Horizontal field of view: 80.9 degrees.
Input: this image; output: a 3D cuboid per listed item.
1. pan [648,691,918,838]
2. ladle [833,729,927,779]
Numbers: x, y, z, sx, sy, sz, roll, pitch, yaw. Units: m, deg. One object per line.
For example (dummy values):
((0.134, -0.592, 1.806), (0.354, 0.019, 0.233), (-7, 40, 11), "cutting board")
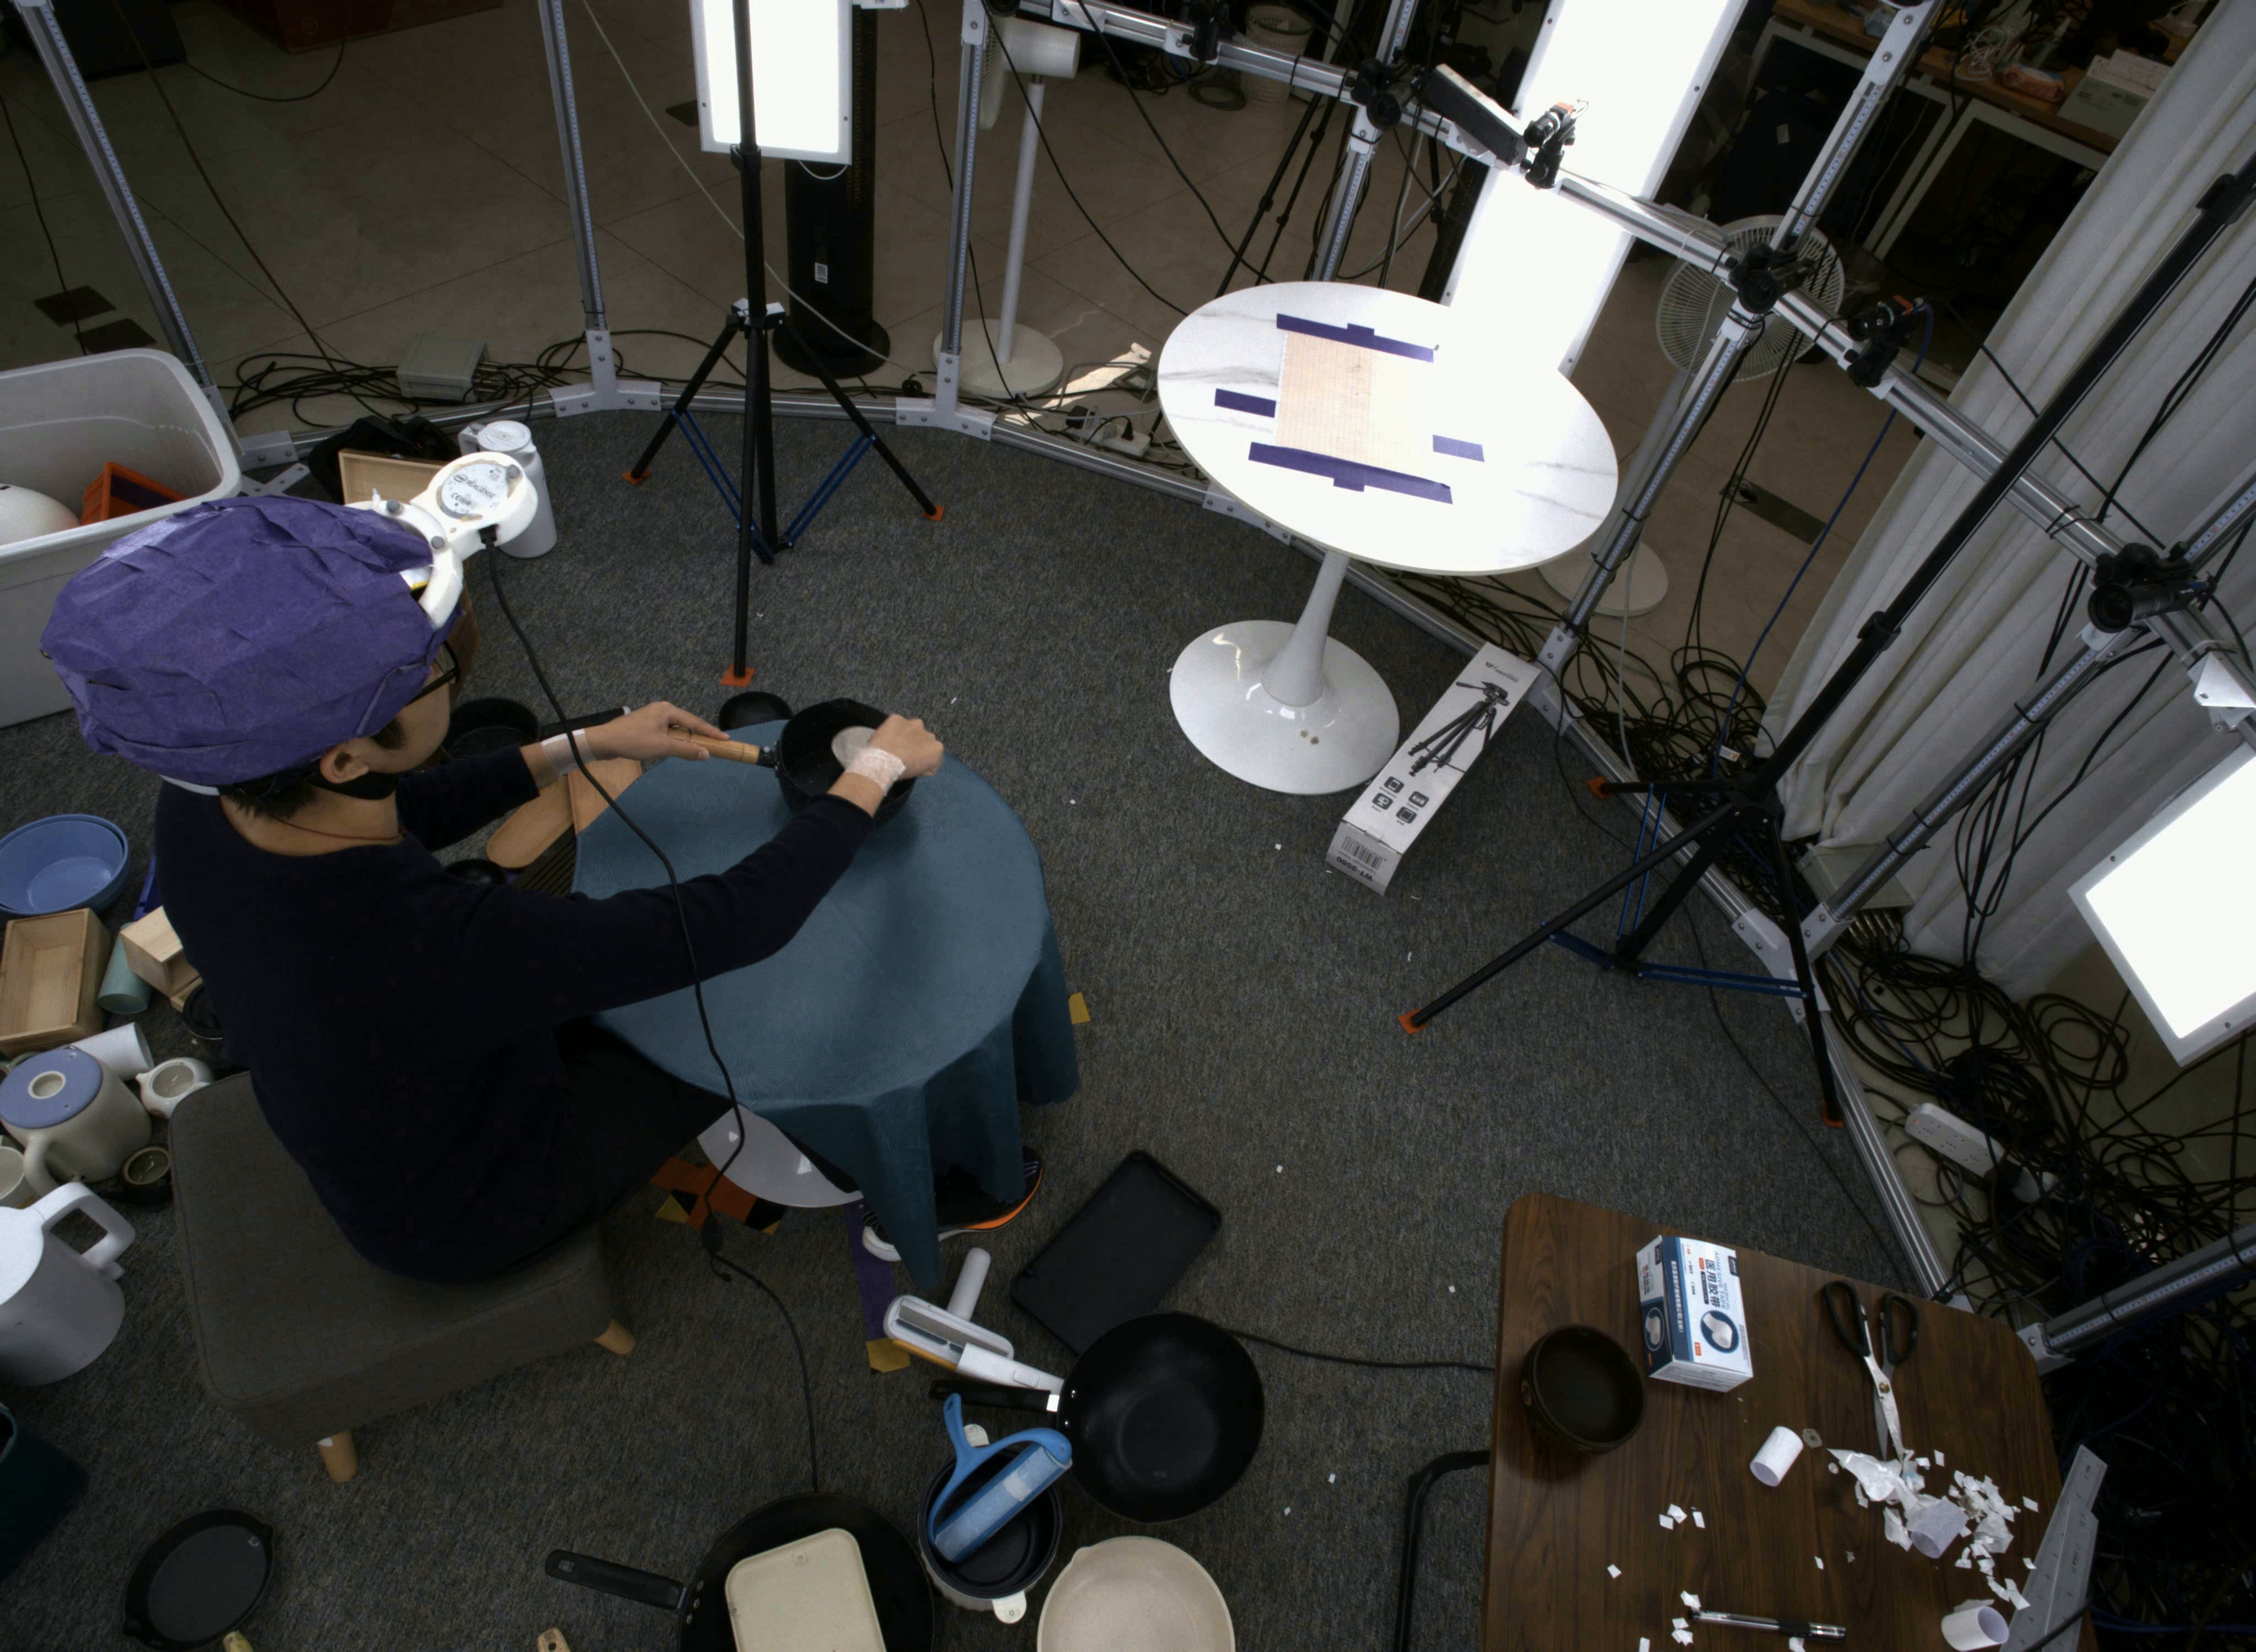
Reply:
((-0.446, -0.080, 1.670), (0.347, 0.109, 0.203), (2, 54, -26), "pan")
((-0.303, -0.105, 1.644), (0.090, 0.268, 0.070), (3, 85, -27), "ladle")
